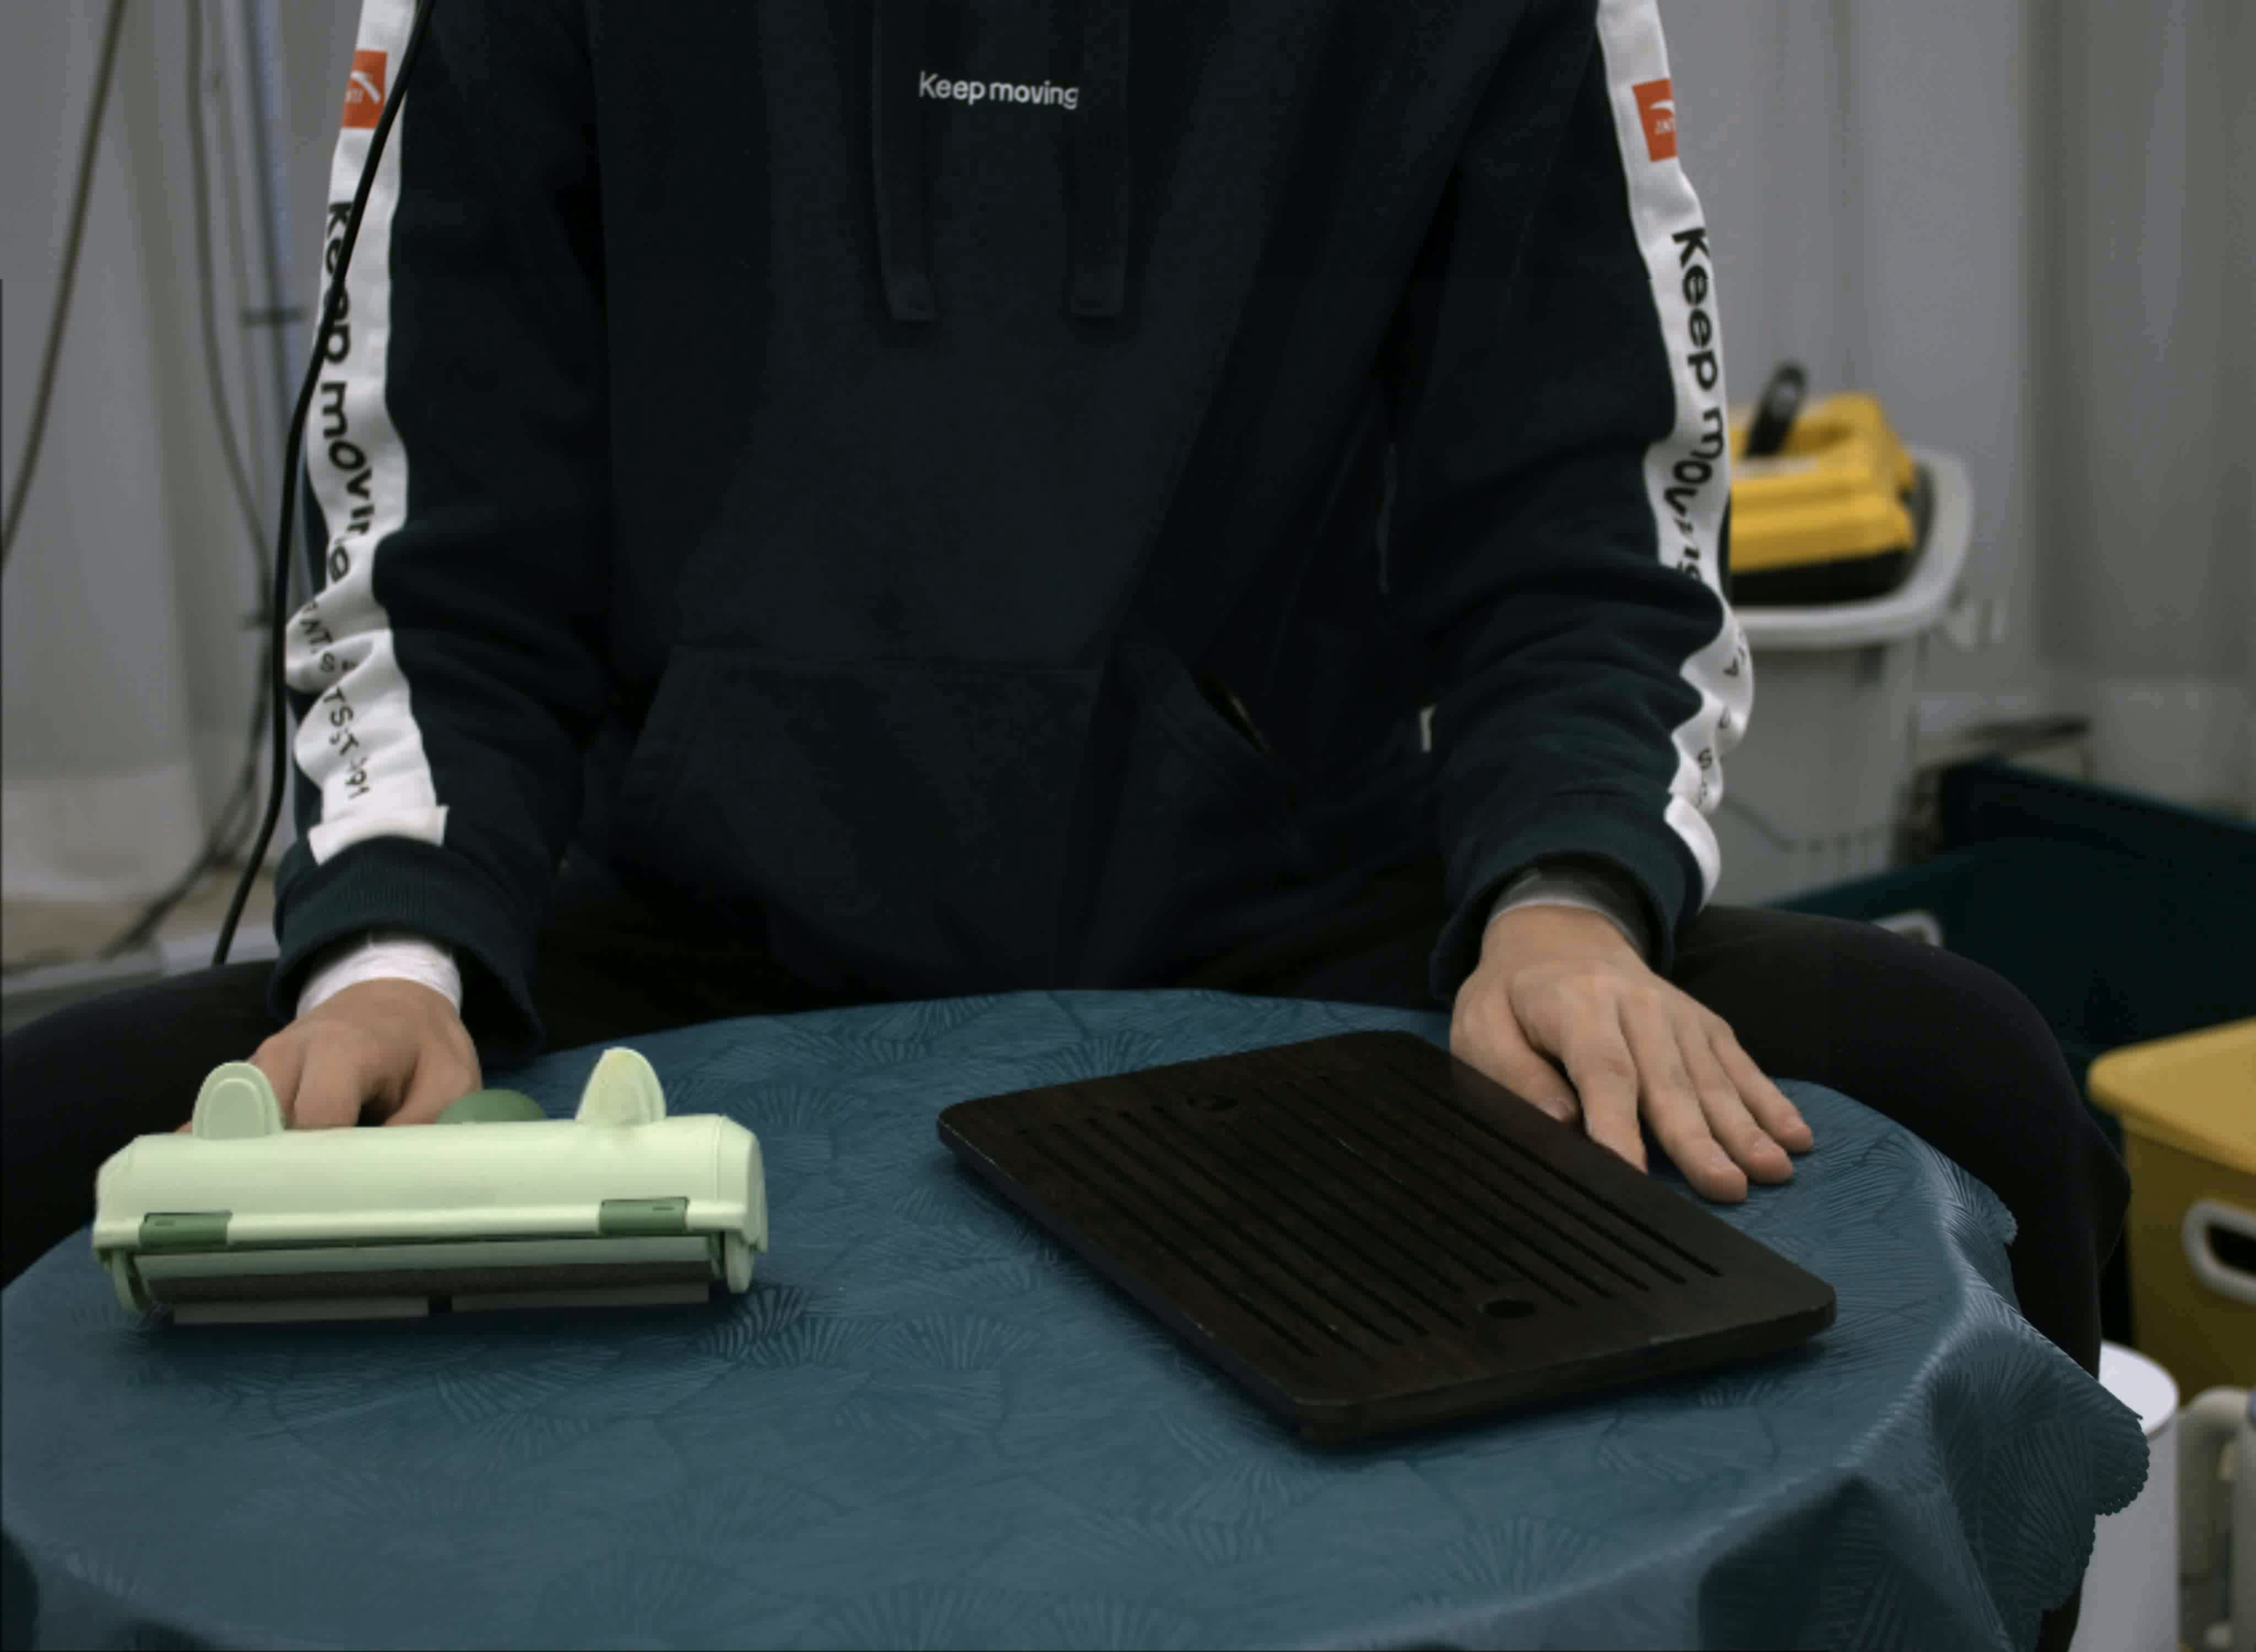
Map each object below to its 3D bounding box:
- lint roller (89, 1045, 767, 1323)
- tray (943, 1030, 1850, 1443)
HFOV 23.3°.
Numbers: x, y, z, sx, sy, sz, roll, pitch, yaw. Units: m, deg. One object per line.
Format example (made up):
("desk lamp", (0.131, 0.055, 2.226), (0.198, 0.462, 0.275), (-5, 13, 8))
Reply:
("lint roller", (-0.206, 0.093, 1.684), (0.198, 0.082, 0.185), (-3, 18, 3))
("tray", (0.073, 0.120, 1.646), (0.169, 0.018, 0.308), (-9, 16, -20))
